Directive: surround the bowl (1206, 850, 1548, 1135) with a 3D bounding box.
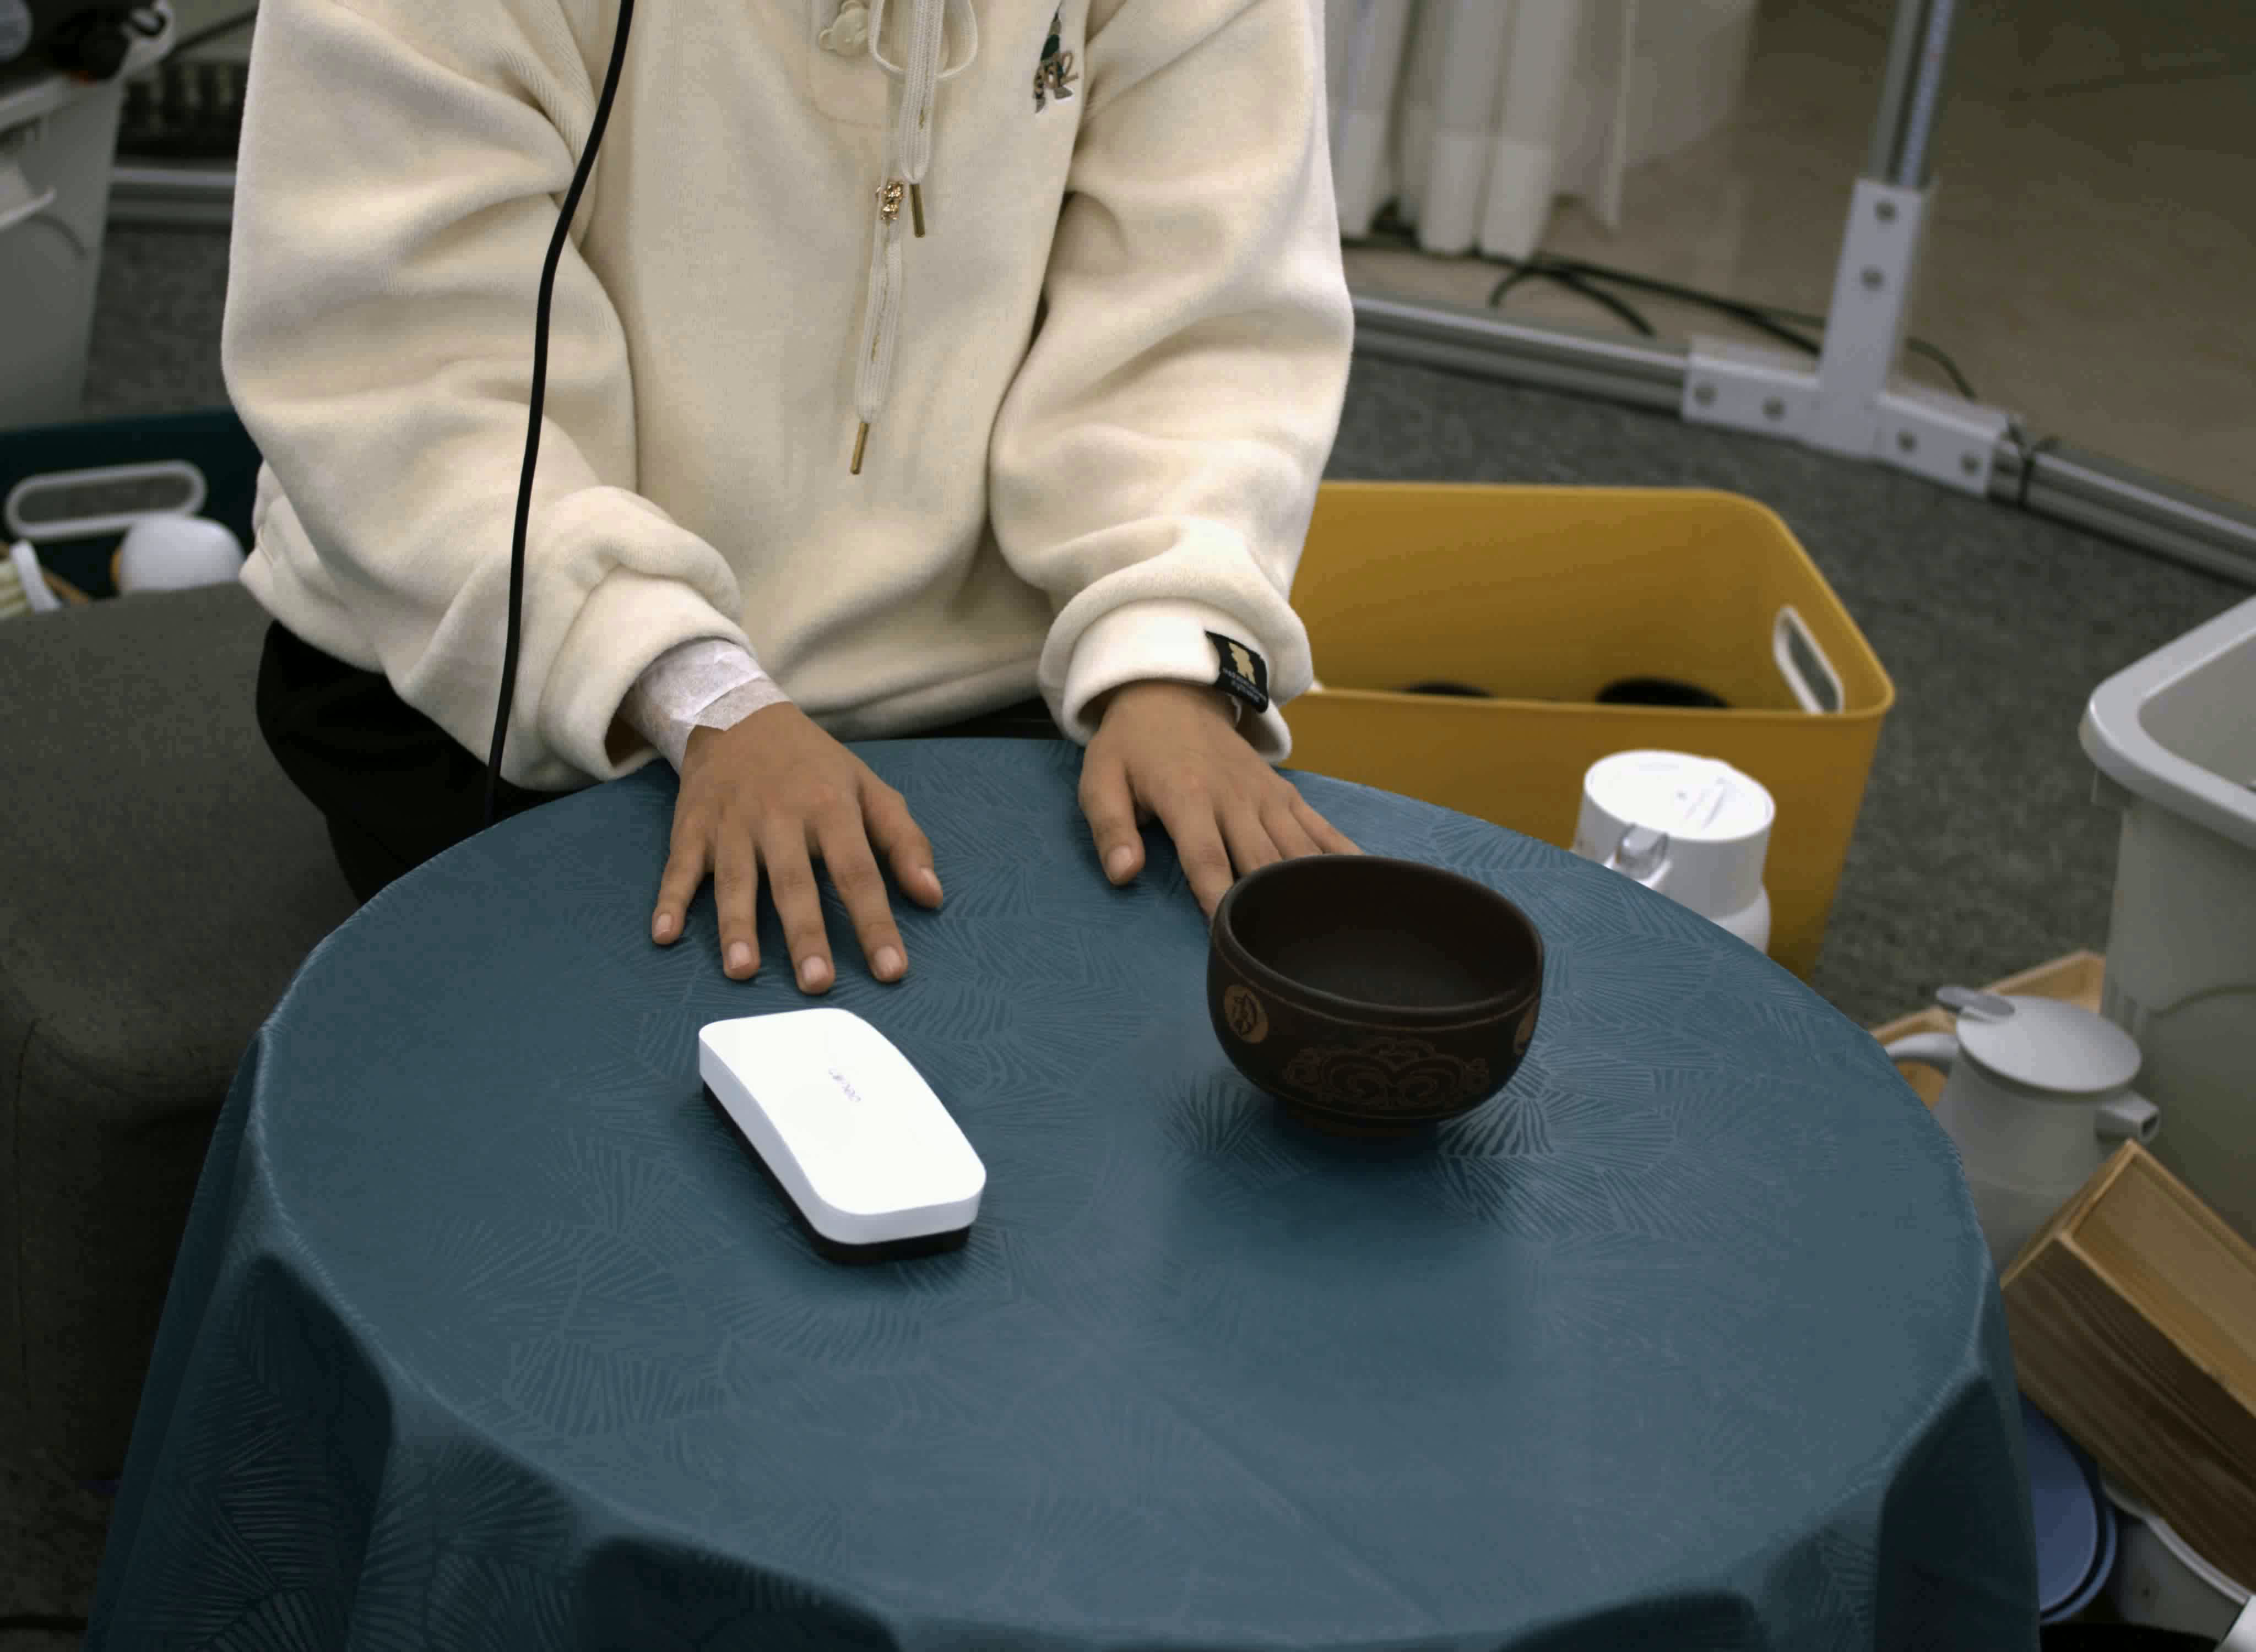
[{"bbox_3d":[0.084,0.064,1.857,0.117,0.069,0.119,6,25,-3],"label":"bowl"}]

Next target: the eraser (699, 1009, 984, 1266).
[{"bbox_3d":[-0.097,0.101,1.792,0.063,0.034,0.132,-7,30,-24],"label":"eraser"}]
